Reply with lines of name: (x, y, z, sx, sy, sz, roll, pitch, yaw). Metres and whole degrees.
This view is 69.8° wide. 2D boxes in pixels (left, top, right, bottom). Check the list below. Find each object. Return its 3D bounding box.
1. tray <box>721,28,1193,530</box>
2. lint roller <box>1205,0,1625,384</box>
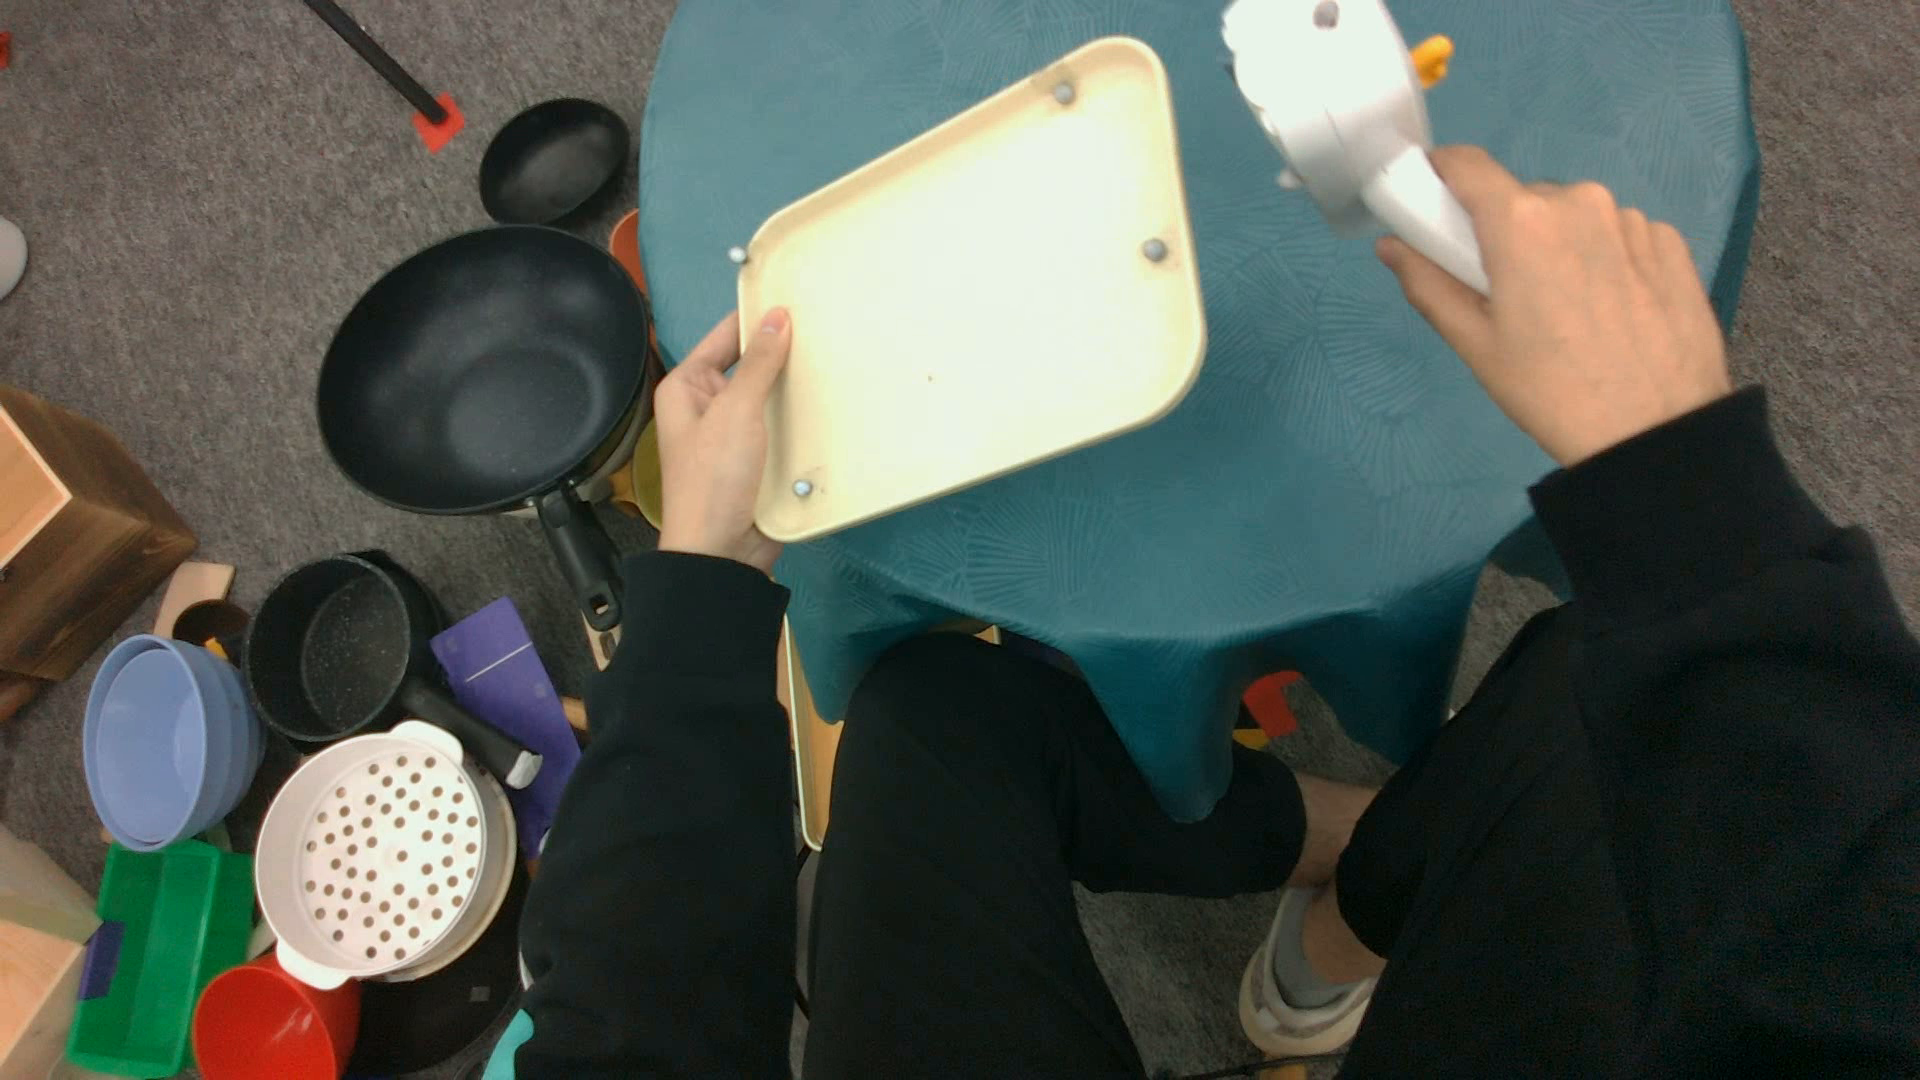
tray: (-0.012, -0.106, 0.597, 0.239, 0.017, 0.171, -17, 69, 32)
lint roller: (0.170, -0.129, 0.522, 0.074, 0.193, 0.192, -35, 83, 13)
